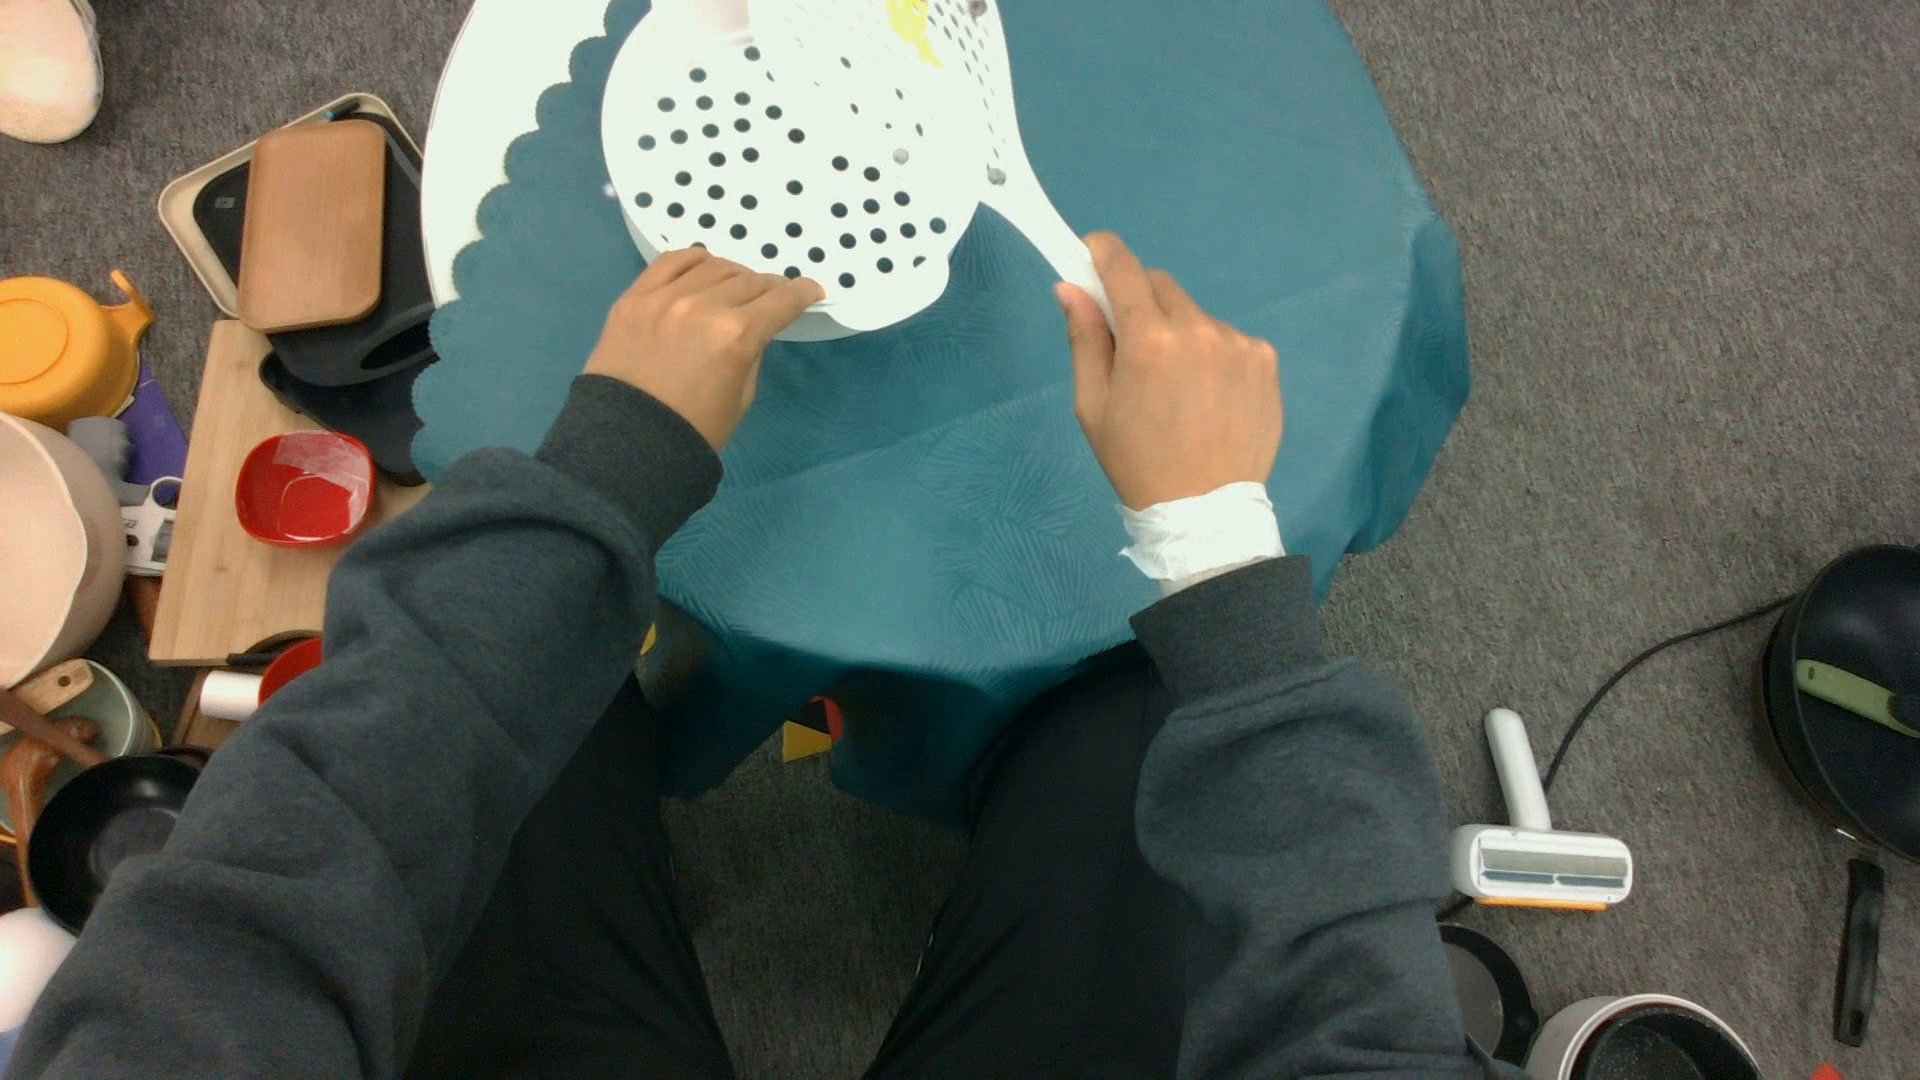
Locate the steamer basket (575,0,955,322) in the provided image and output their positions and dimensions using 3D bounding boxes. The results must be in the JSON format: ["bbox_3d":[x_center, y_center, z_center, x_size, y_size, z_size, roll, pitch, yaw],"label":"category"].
[{"bbox_3d":[-0.104,-0.217,0.753,0.202,0.069,0.231,-29,81,-16],"label":"steamer basket"}]

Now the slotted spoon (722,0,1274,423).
[{"bbox_3d":[0.020,-0.182,0.649,0.348,0.136,0.050,52,35,7],"label":"slotted spoon"}]
